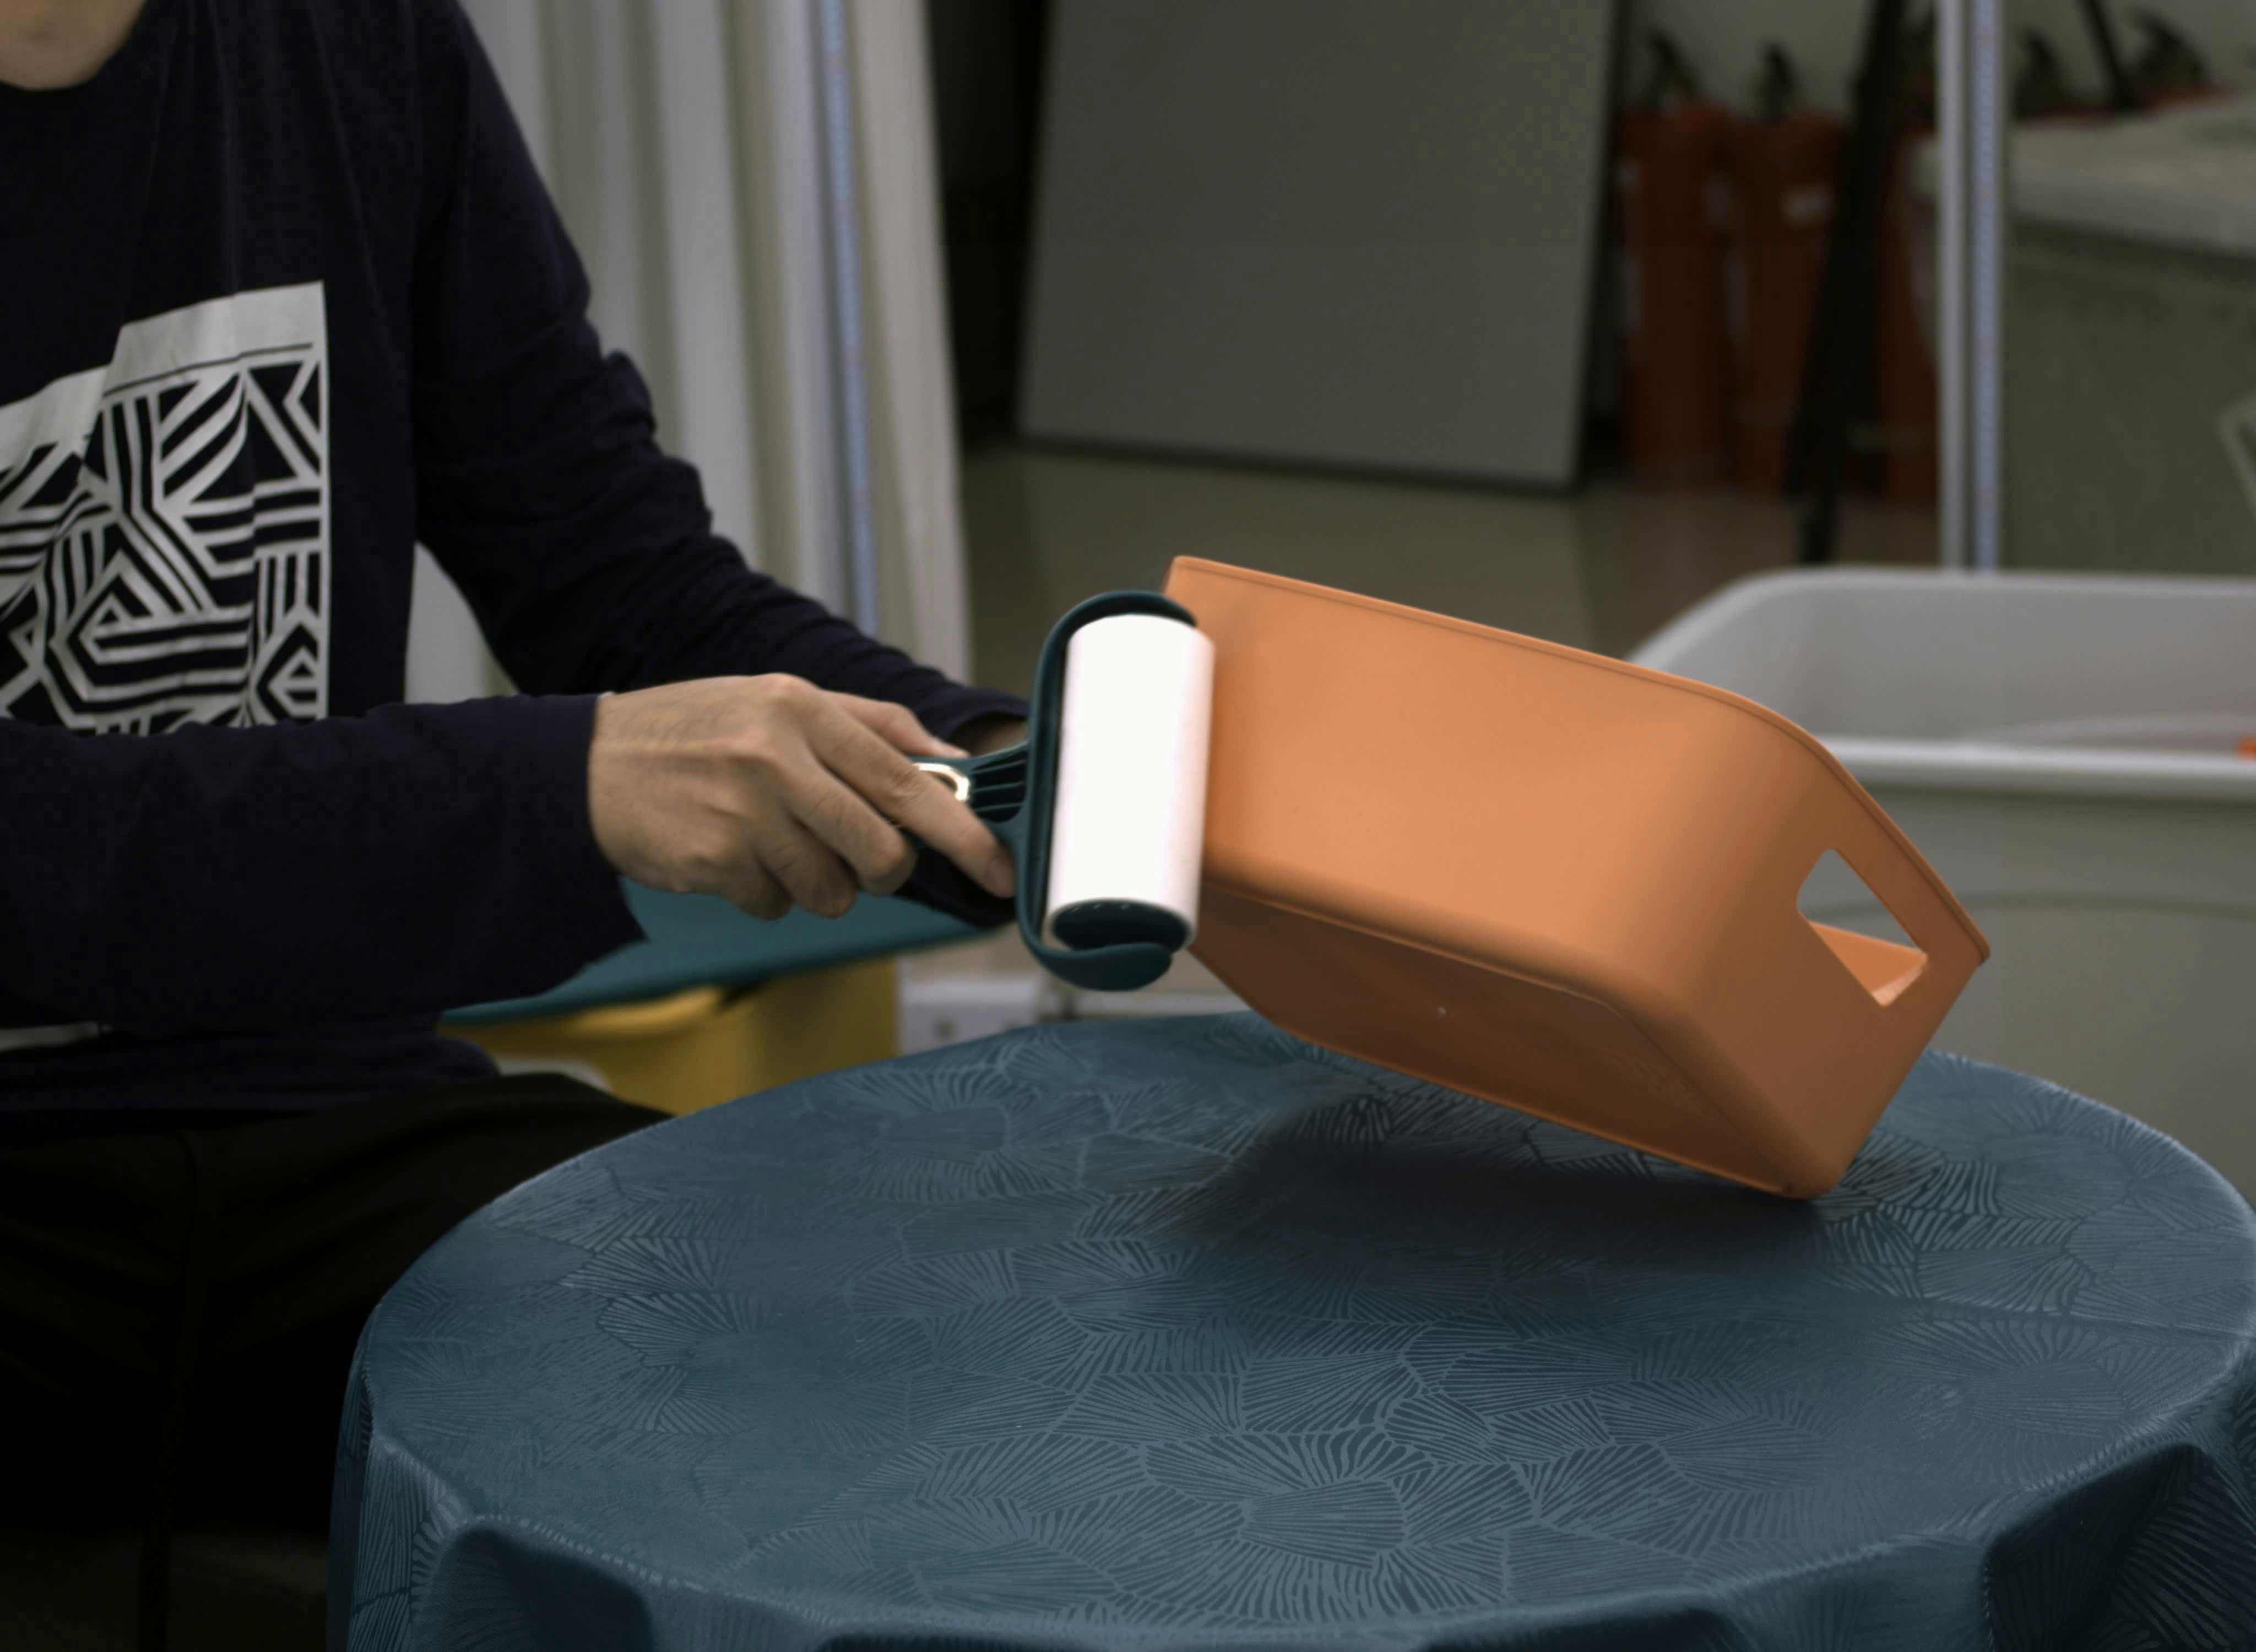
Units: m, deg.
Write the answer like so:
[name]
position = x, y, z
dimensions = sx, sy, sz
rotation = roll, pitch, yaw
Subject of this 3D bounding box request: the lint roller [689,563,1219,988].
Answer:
[lint roller]
position = -0.060, -0.011, 1.706
dimensions = 0.179, 0.136, 0.048
rotation = -3, -27, 15

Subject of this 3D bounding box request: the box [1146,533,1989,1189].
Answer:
[box]
position = 0.121, 0.015, 1.735
dimensions = 0.275, 0.103, 0.197
rotation = 16, -20, 39
